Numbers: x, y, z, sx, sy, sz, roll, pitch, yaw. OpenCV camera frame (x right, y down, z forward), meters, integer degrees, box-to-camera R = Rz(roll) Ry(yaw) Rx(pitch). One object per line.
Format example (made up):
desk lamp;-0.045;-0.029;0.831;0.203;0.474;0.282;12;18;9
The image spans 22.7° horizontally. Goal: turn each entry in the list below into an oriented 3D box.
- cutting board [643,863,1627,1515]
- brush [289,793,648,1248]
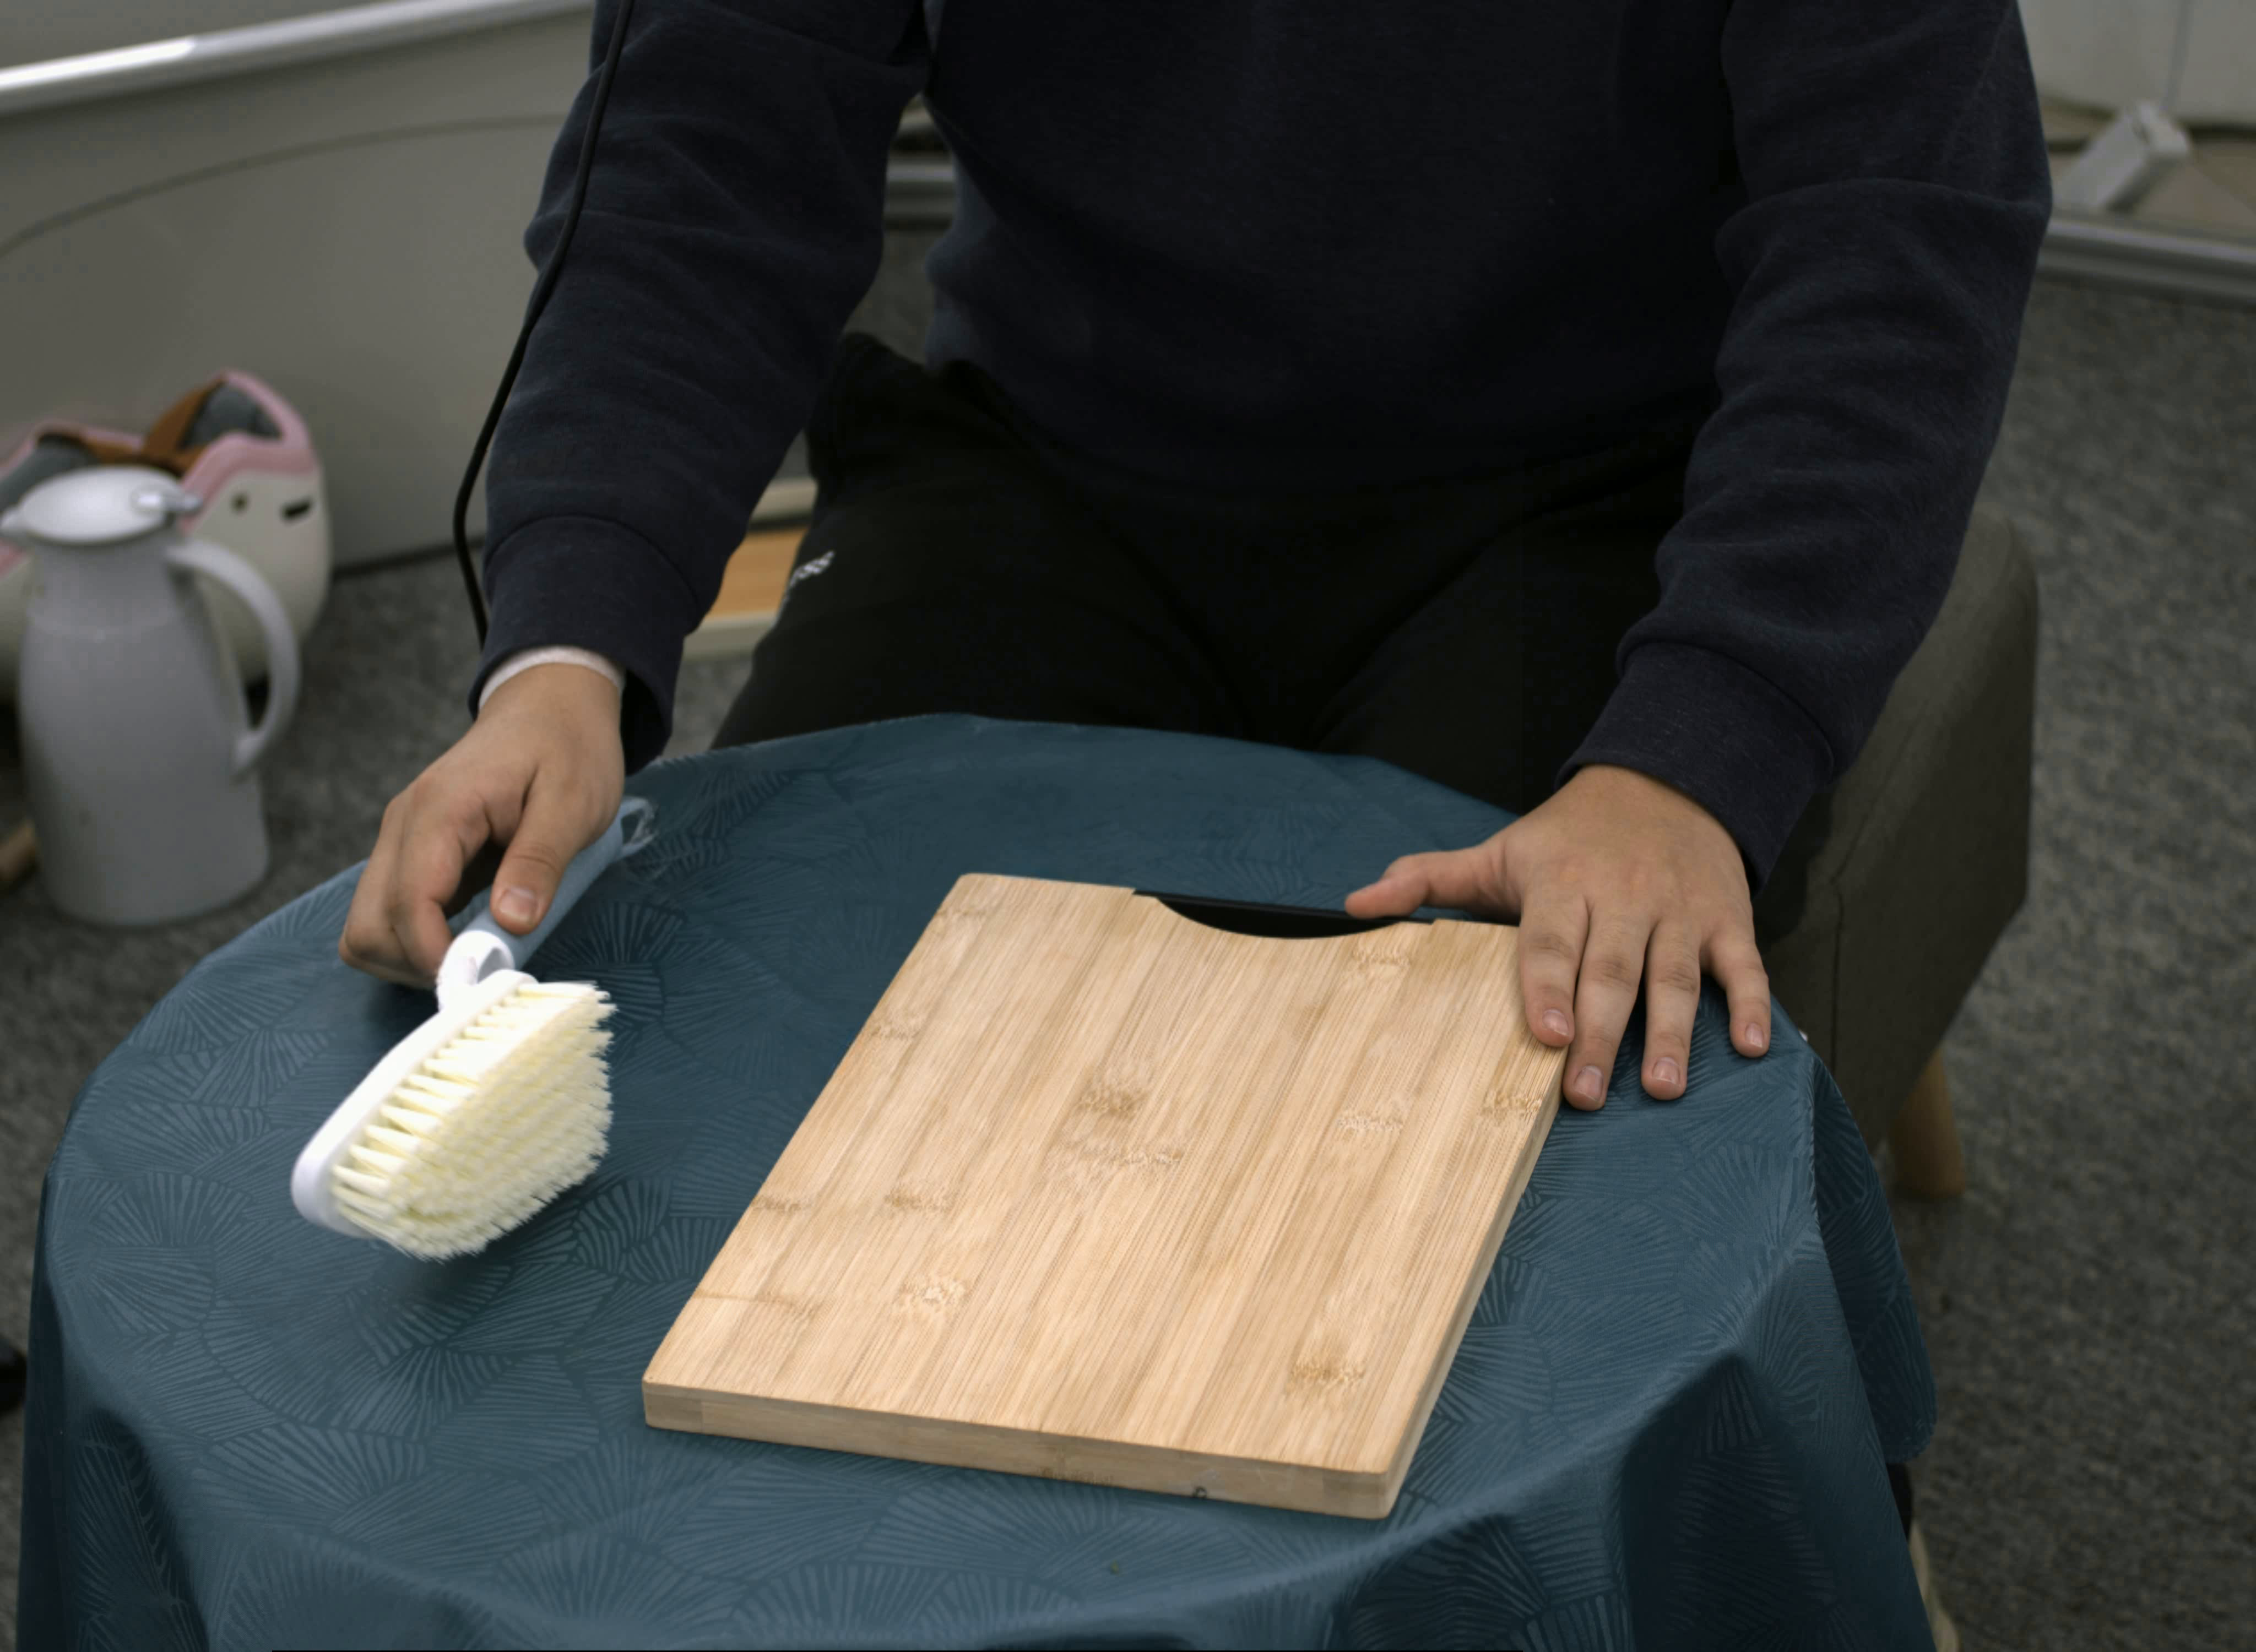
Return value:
cutting board;0.011;0.111;1.866;0.249;0.023;0.354;5;28;14
brush;-0.193;0.055;1.922;0.084;0.082;0.330;37;26;-2
